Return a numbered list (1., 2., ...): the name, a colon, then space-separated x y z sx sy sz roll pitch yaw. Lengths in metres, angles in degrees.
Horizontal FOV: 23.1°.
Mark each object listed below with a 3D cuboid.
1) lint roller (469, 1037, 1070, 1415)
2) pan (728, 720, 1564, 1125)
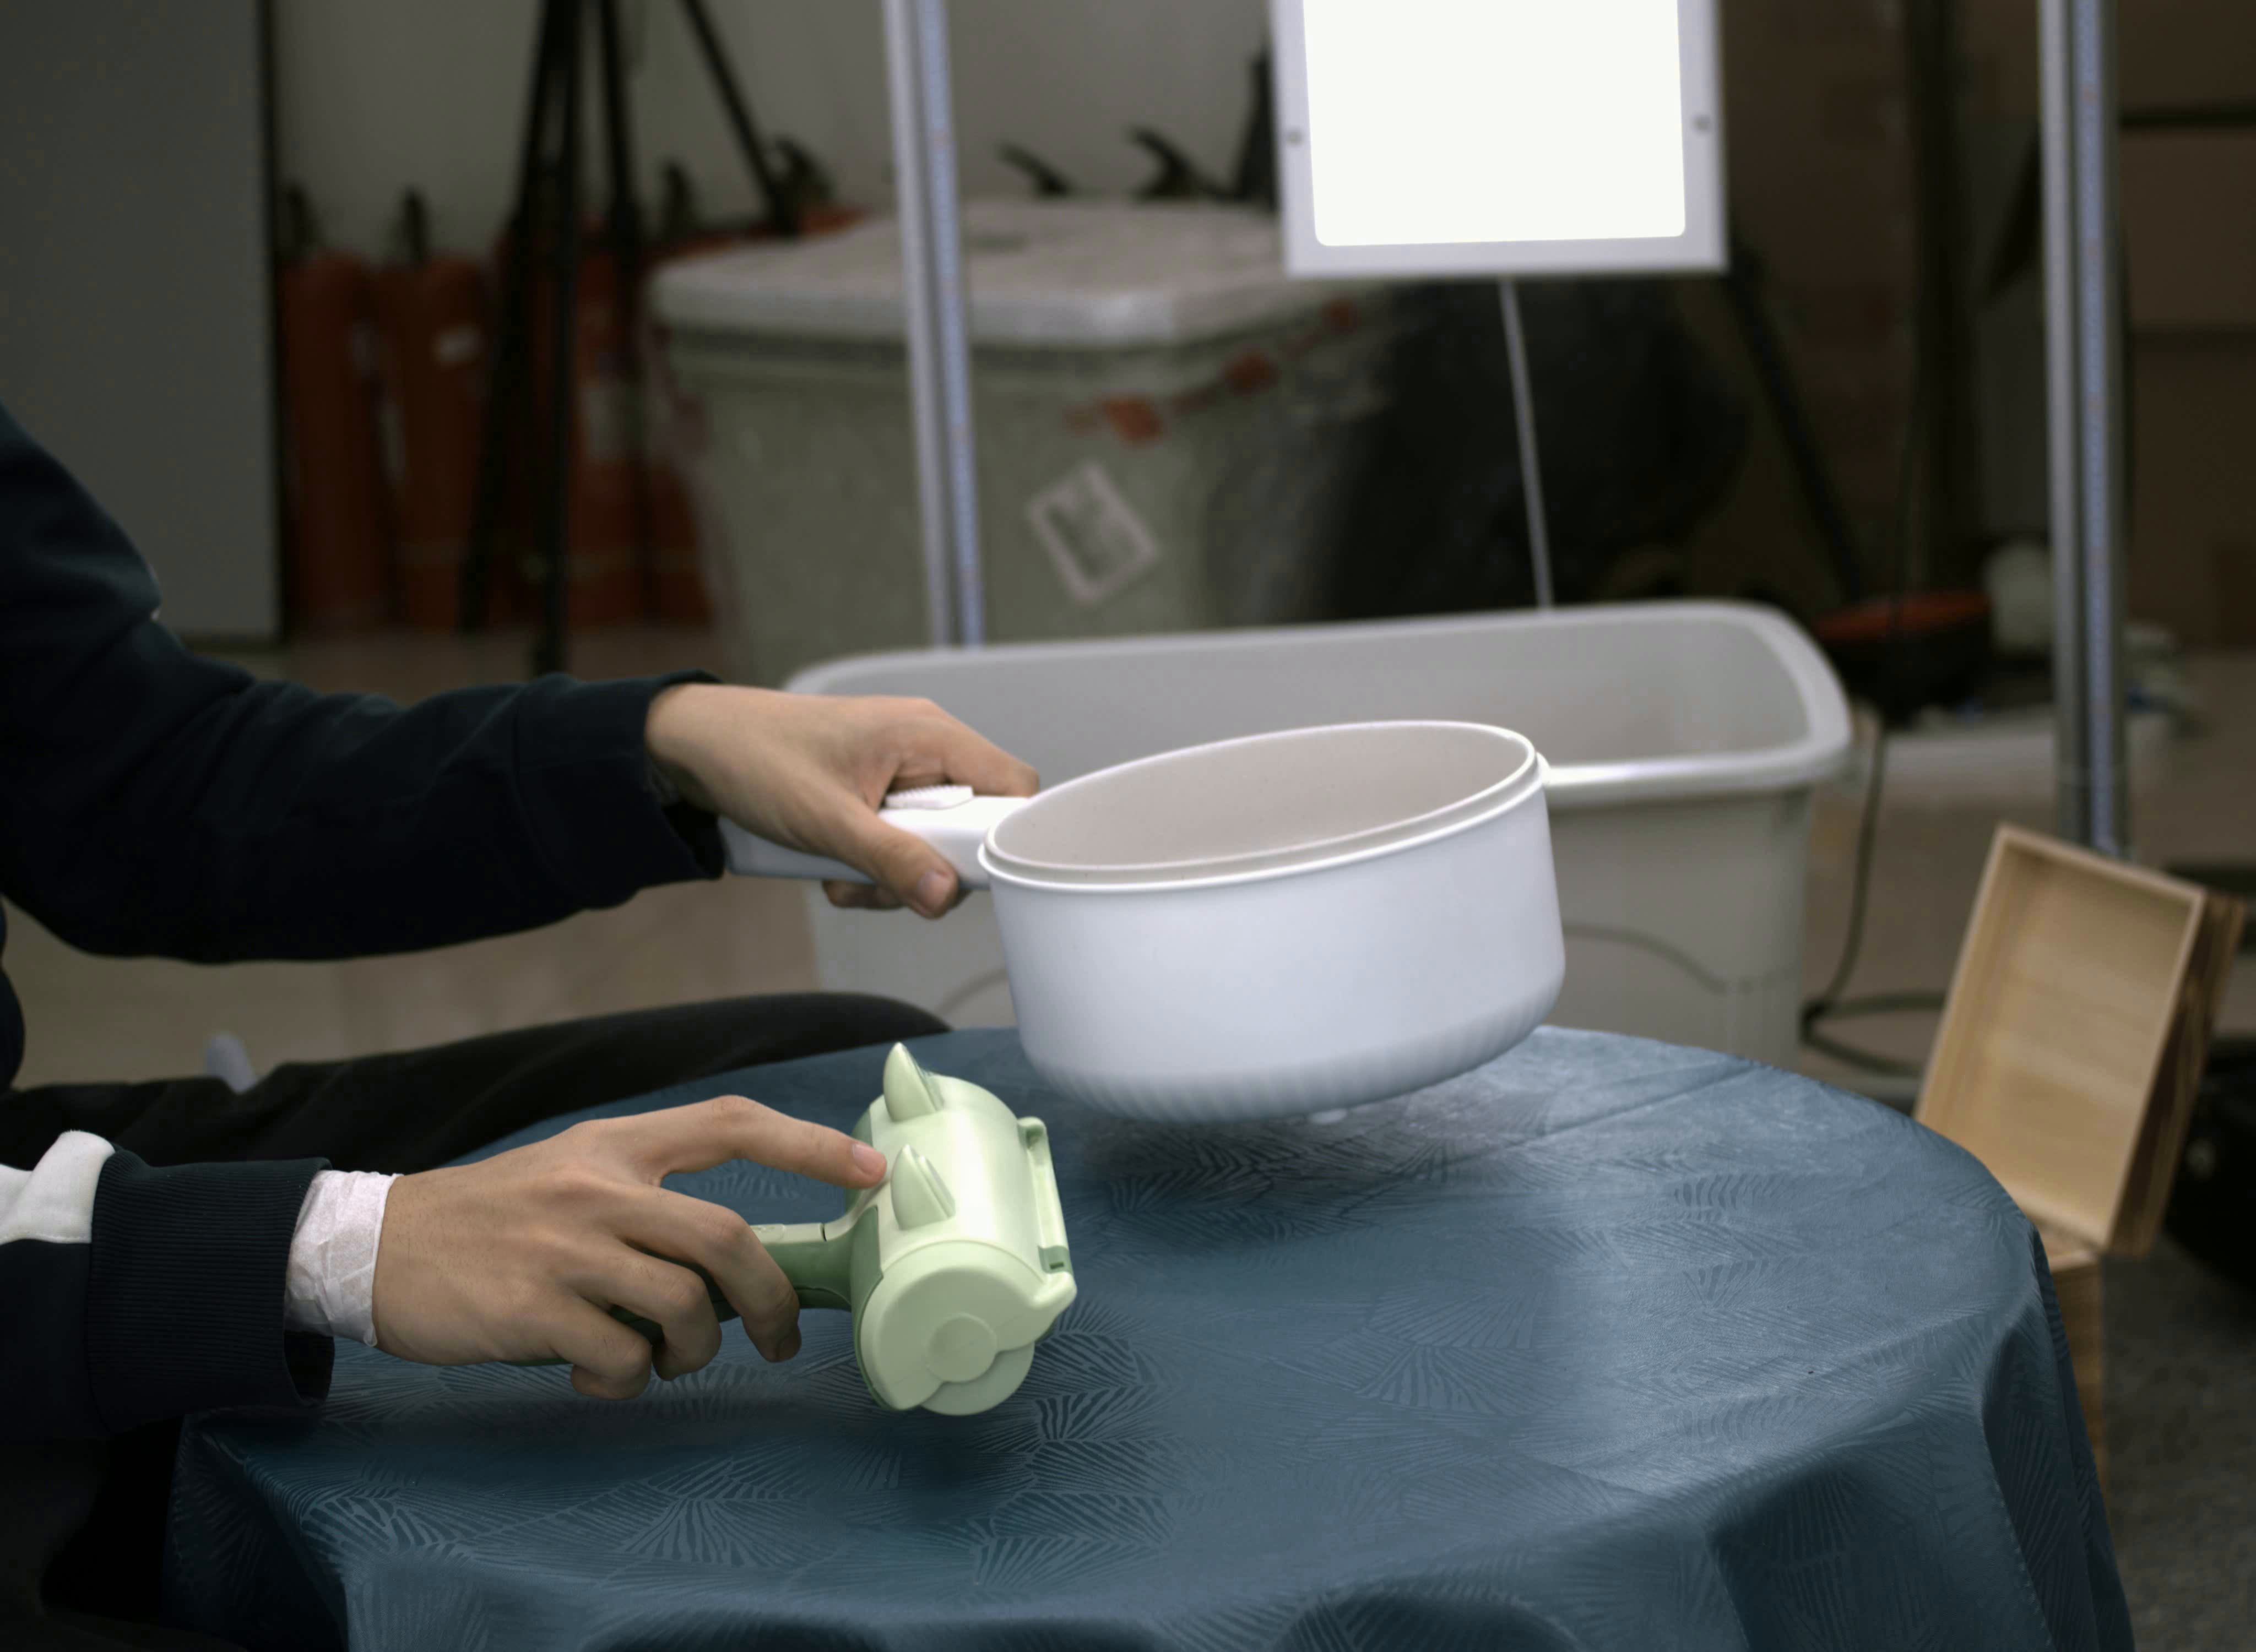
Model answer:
1. lint roller: -0.113 0.121 1.702 0.182 0.082 0.198 -2 14 -2
2. pan: -0.003 0.036 1.974 0.363 0.102 0.196 0 16 43
